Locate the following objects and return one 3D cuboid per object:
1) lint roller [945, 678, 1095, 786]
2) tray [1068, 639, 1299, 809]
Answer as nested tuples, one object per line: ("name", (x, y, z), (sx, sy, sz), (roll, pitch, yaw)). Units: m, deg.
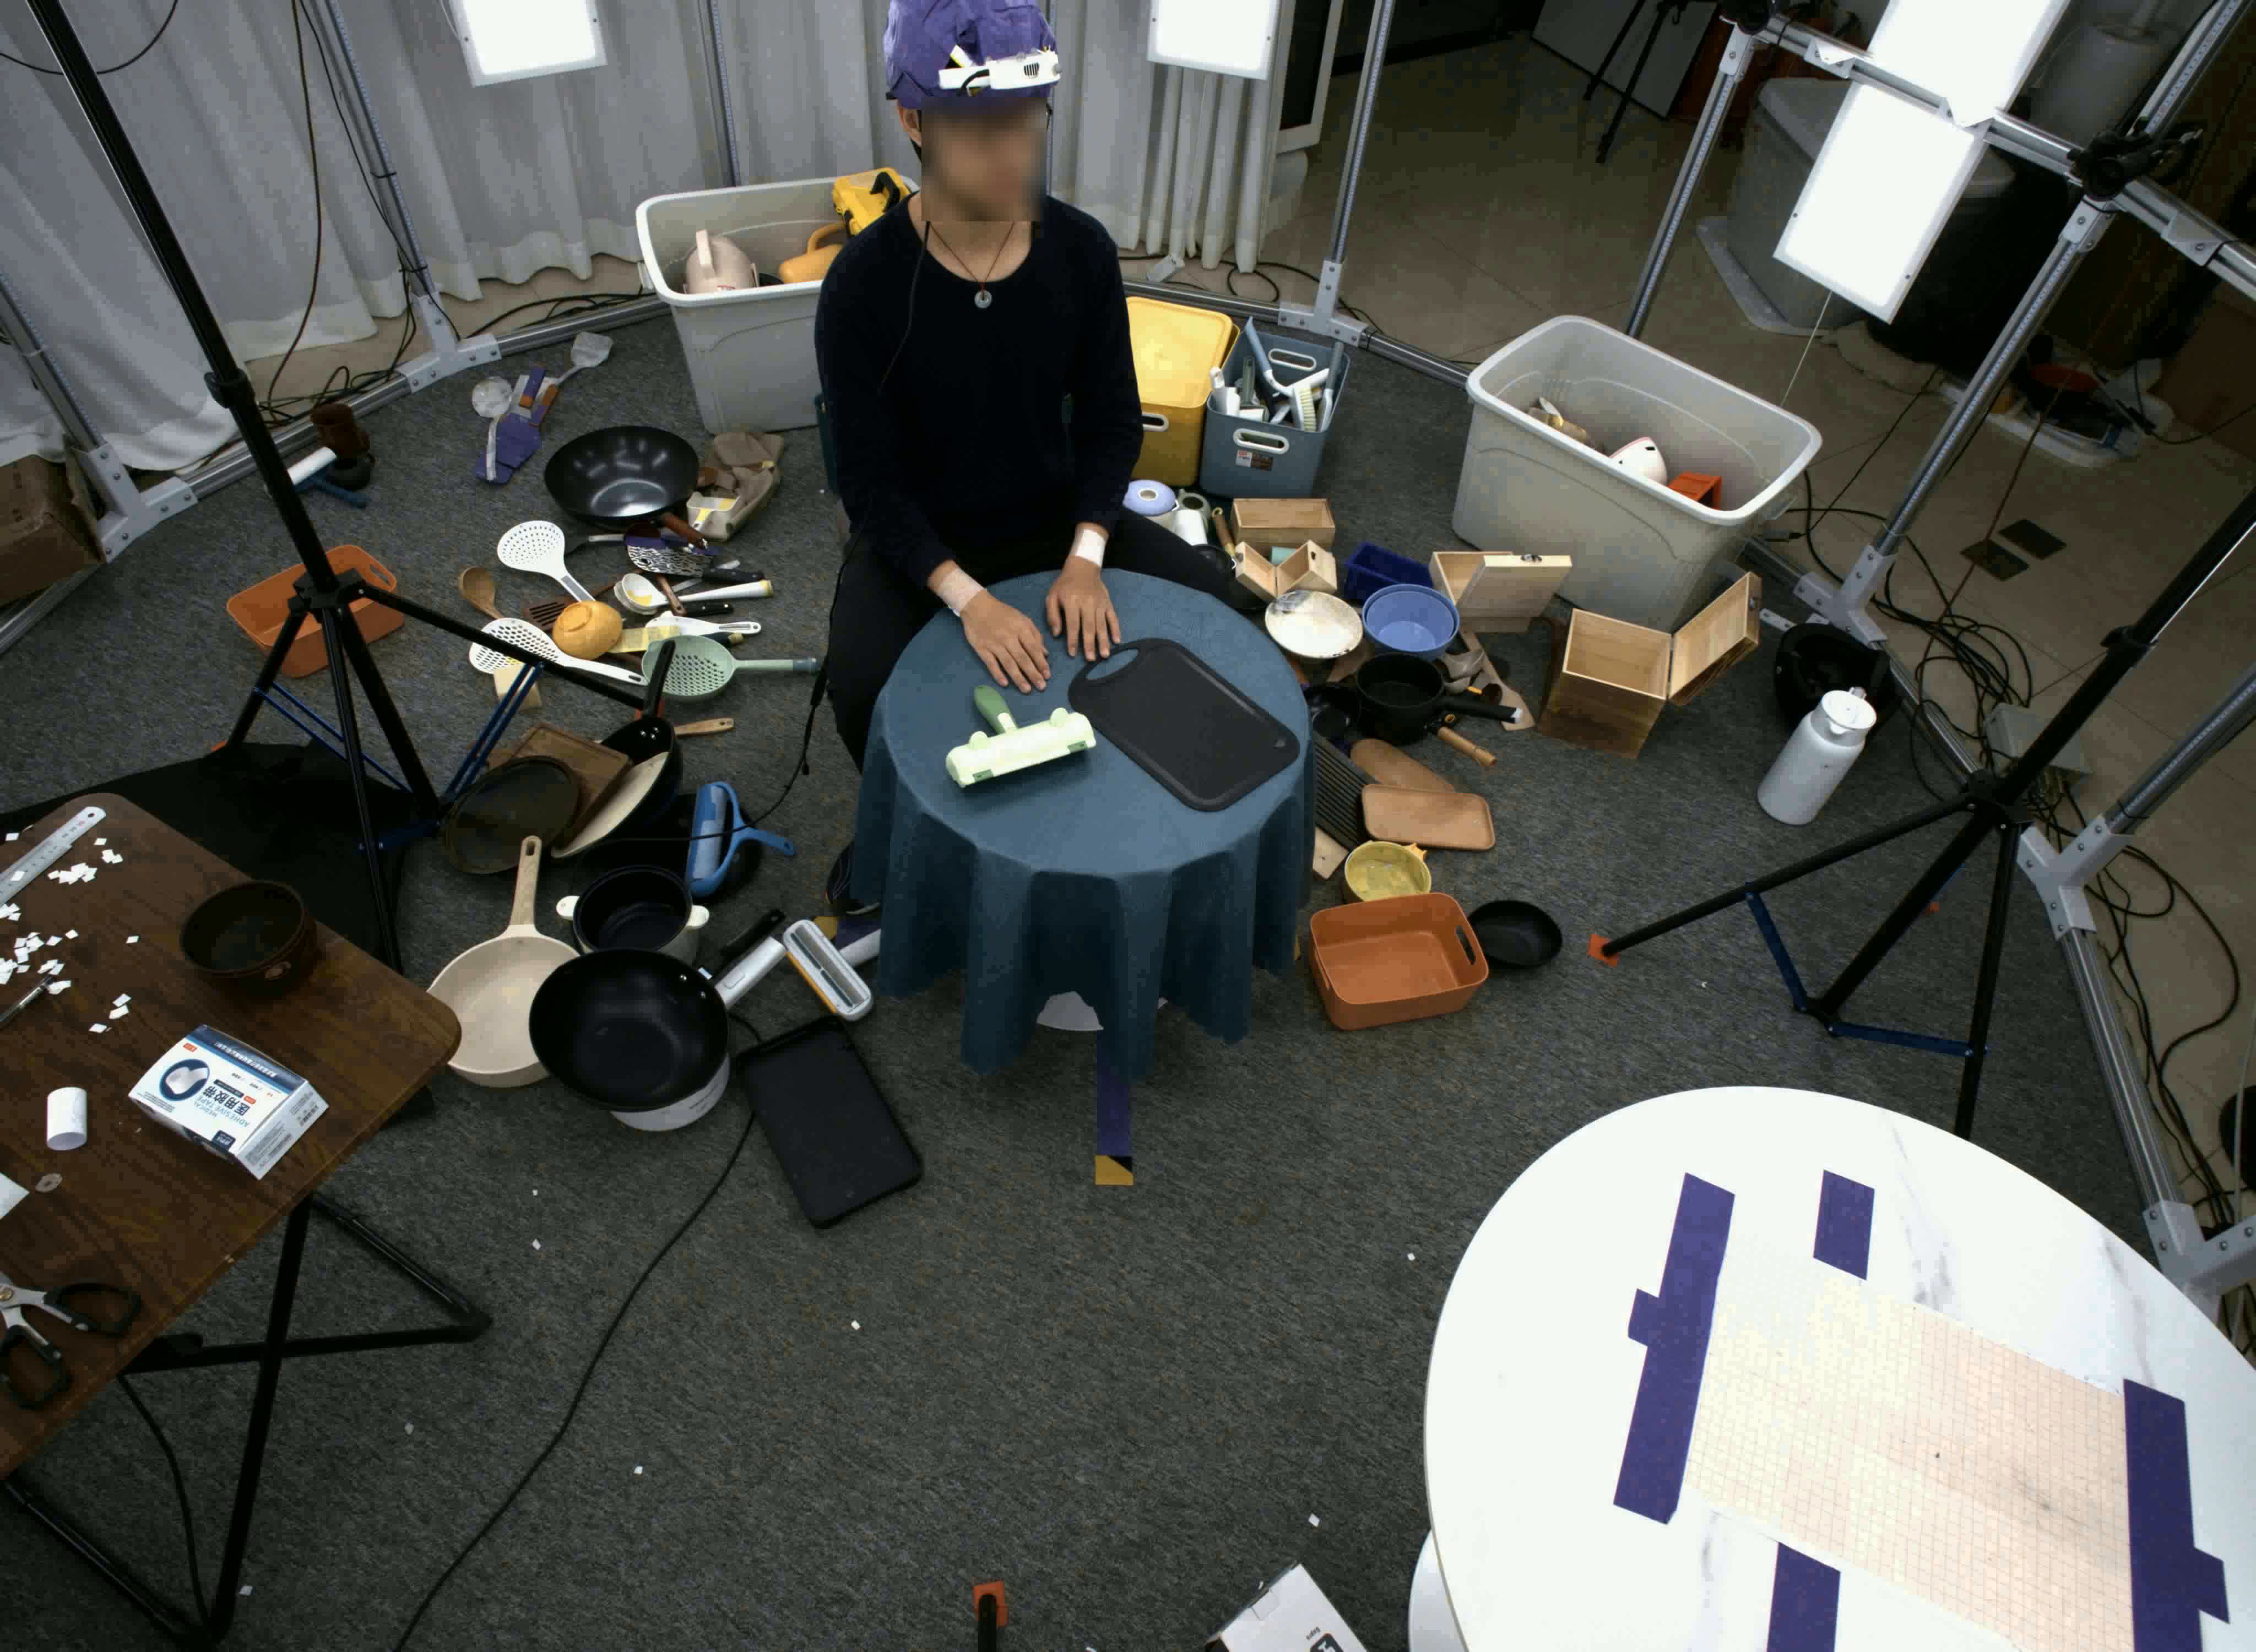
("lint roller", (-0.167, -0.150, 1.732), (0.199, 0.080, 0.187), (-18, 59, -20))
("tray", (0.070, -0.155, 1.804), (0.212, 0.009, 0.331), (-32, 58, -27))
